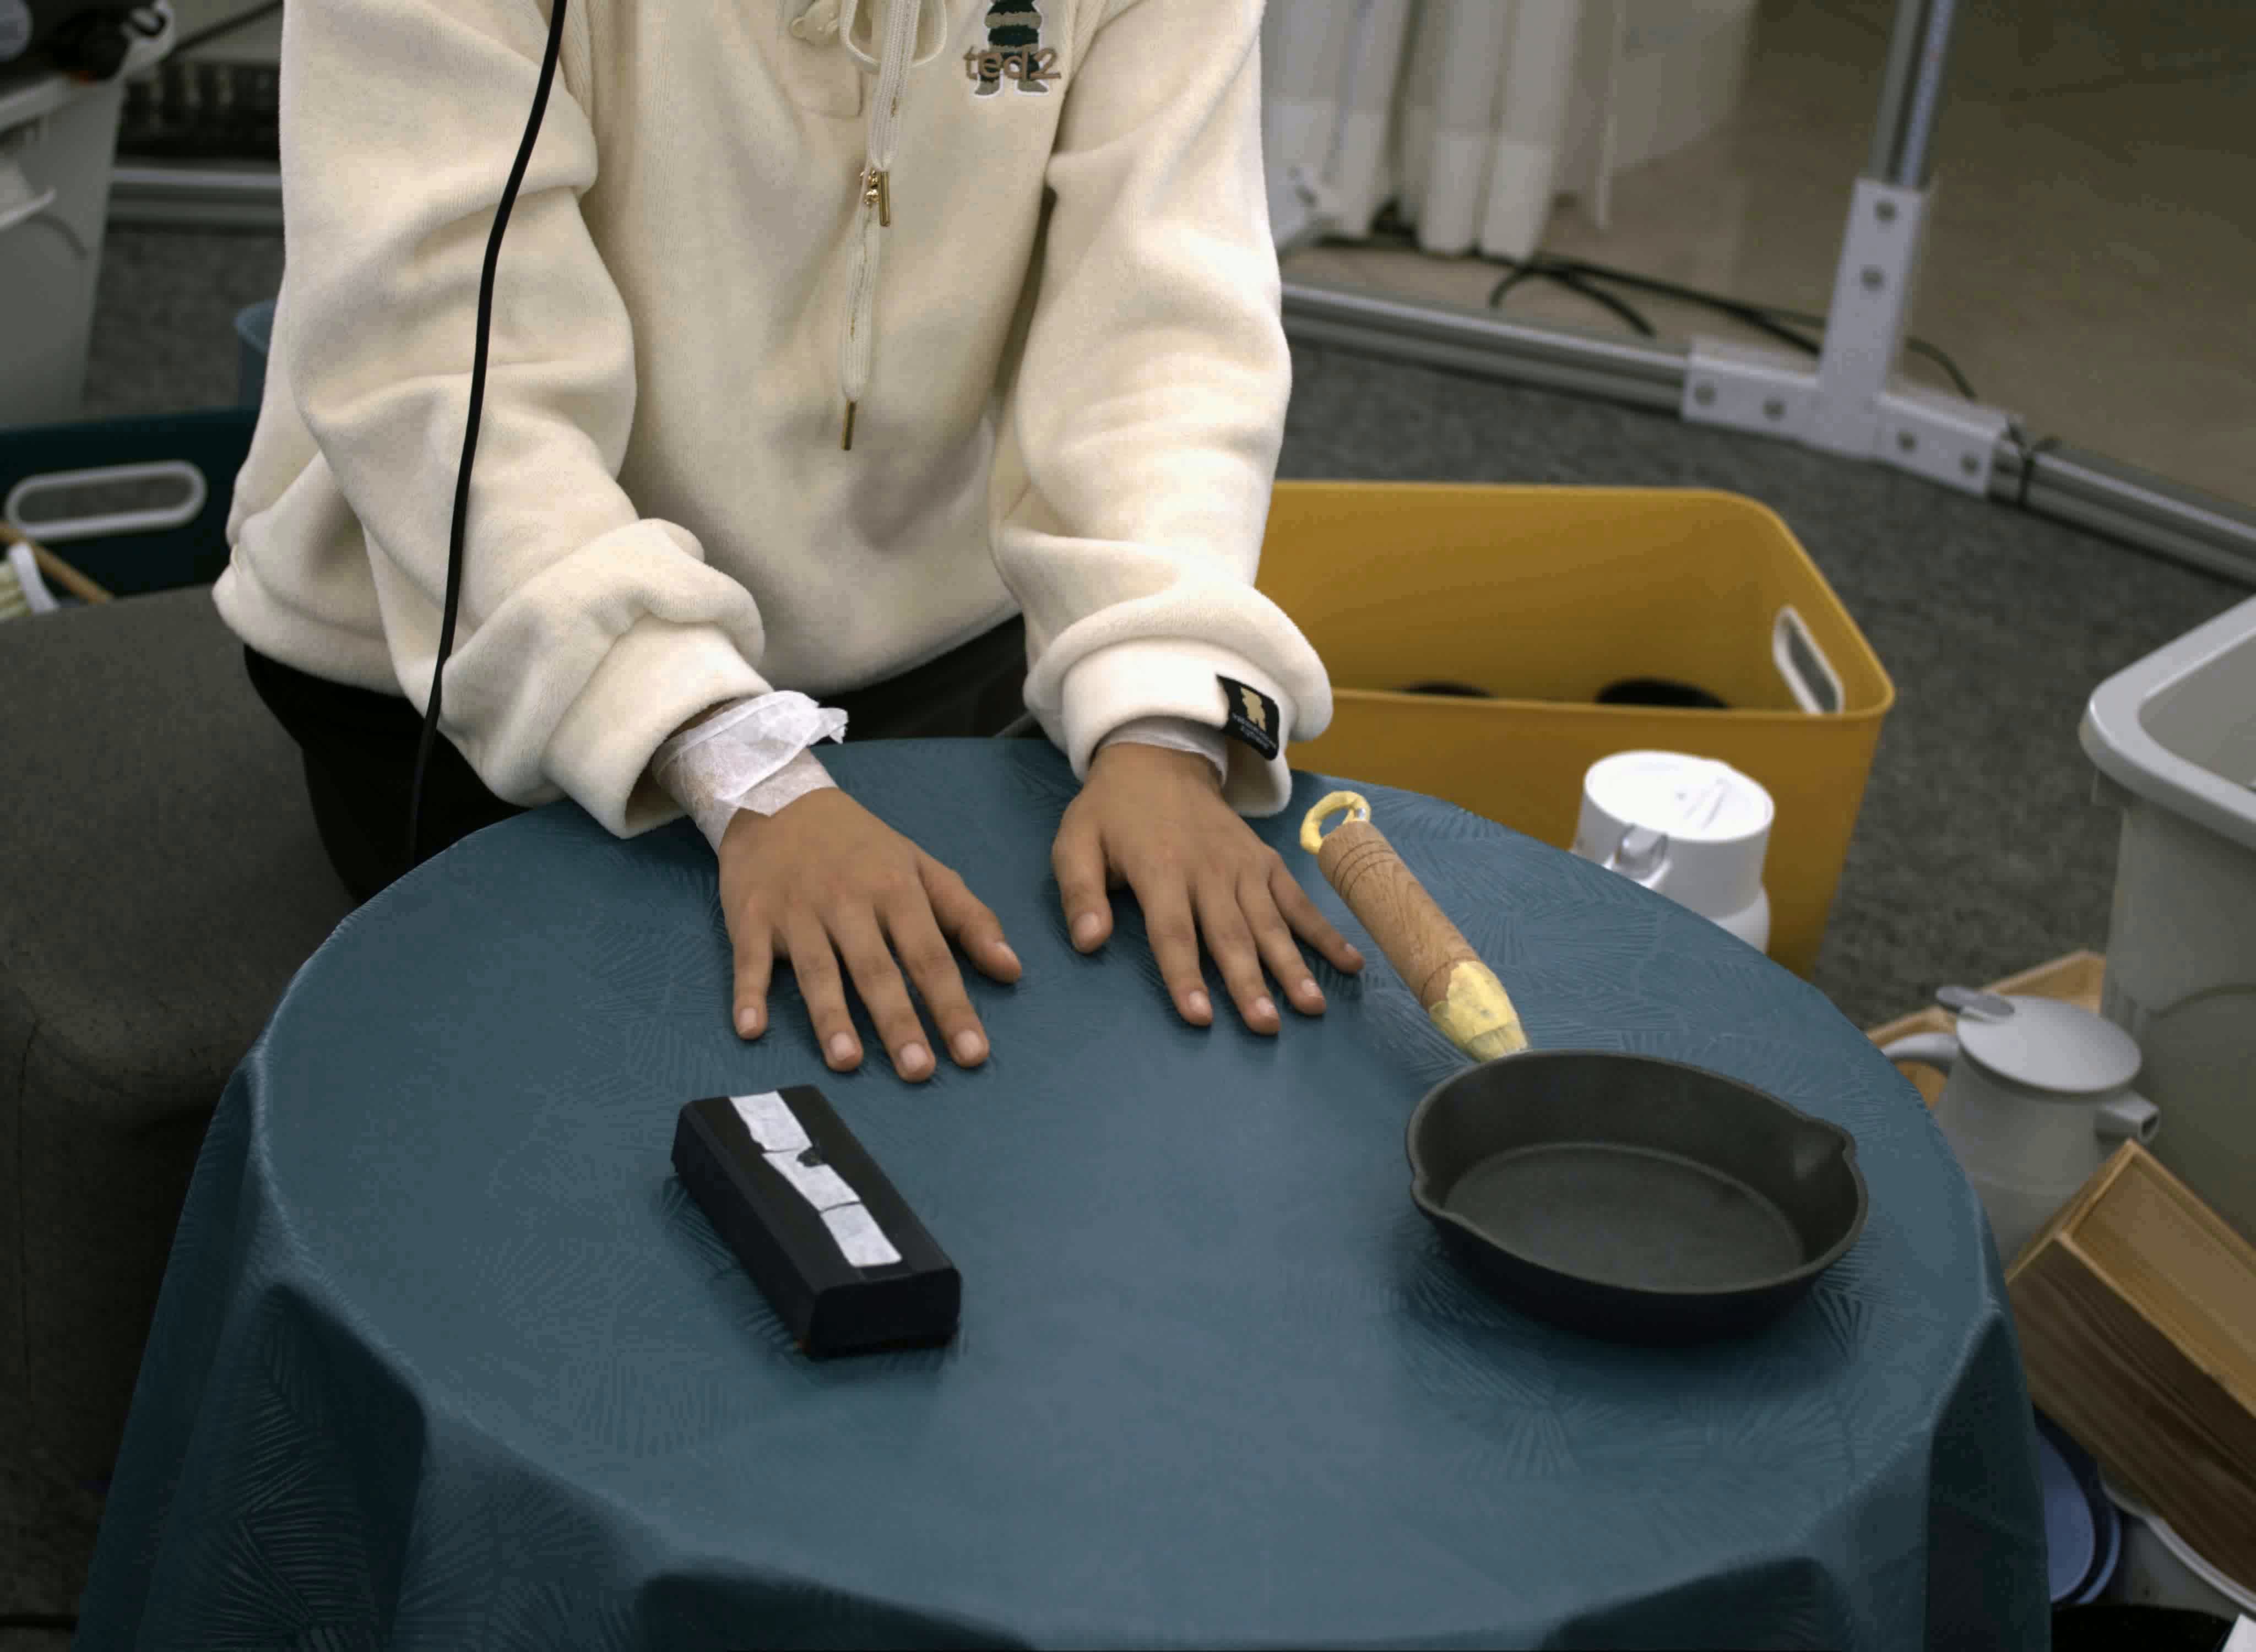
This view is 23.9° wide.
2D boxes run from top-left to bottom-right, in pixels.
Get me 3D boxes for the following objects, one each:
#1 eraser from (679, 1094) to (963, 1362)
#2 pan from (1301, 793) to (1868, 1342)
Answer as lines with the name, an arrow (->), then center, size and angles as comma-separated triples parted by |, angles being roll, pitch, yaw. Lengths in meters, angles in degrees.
eraser -> -0.101, 0.130, 1.737 | 0.053, 0.030, 0.126 | -6, 28, -24
pan -> 0.137, 0.081, 1.859 | 0.168, 0.049, 0.327 | -7, 30, -22
